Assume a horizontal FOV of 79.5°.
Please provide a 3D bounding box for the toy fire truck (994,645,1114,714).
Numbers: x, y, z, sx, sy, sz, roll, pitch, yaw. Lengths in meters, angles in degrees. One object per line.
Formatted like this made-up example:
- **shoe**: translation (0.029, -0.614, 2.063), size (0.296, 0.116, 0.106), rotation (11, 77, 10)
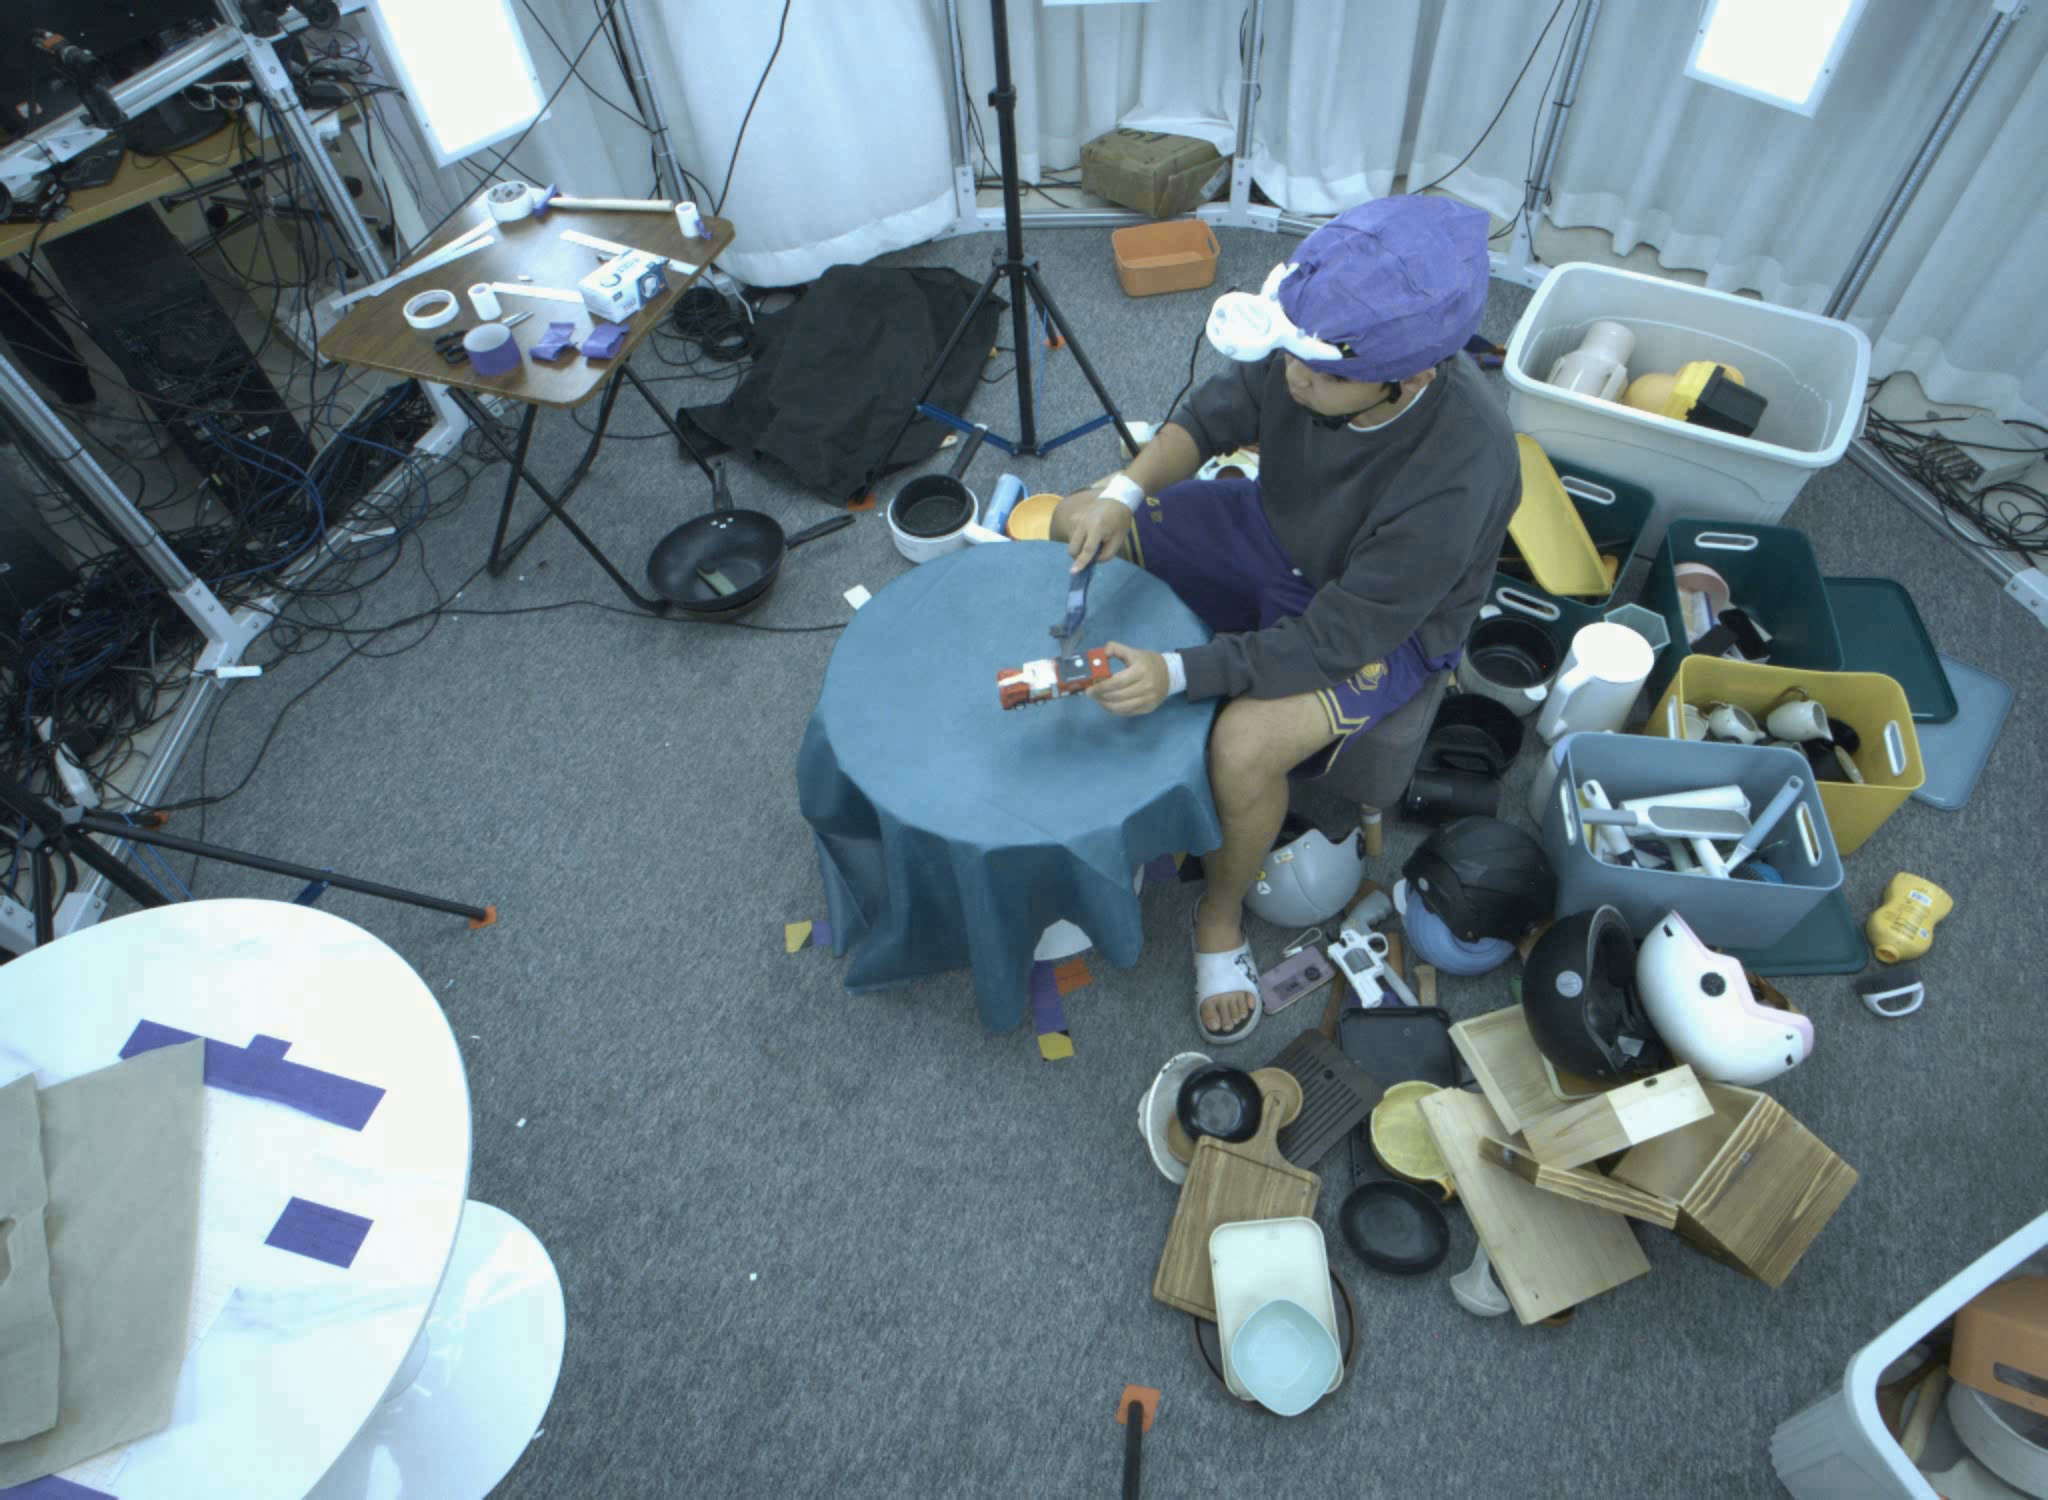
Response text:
- **toy fire truck**: translation (0.042, -0.100, 1.739), size (0.168, 0.071, 0.053), rotation (-12, 67, -4)

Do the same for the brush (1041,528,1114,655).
- **brush**: translation (0.080, -0.248, 1.775), size (0.033, 0.097, 0.272), rotation (-4, 51, 25)
